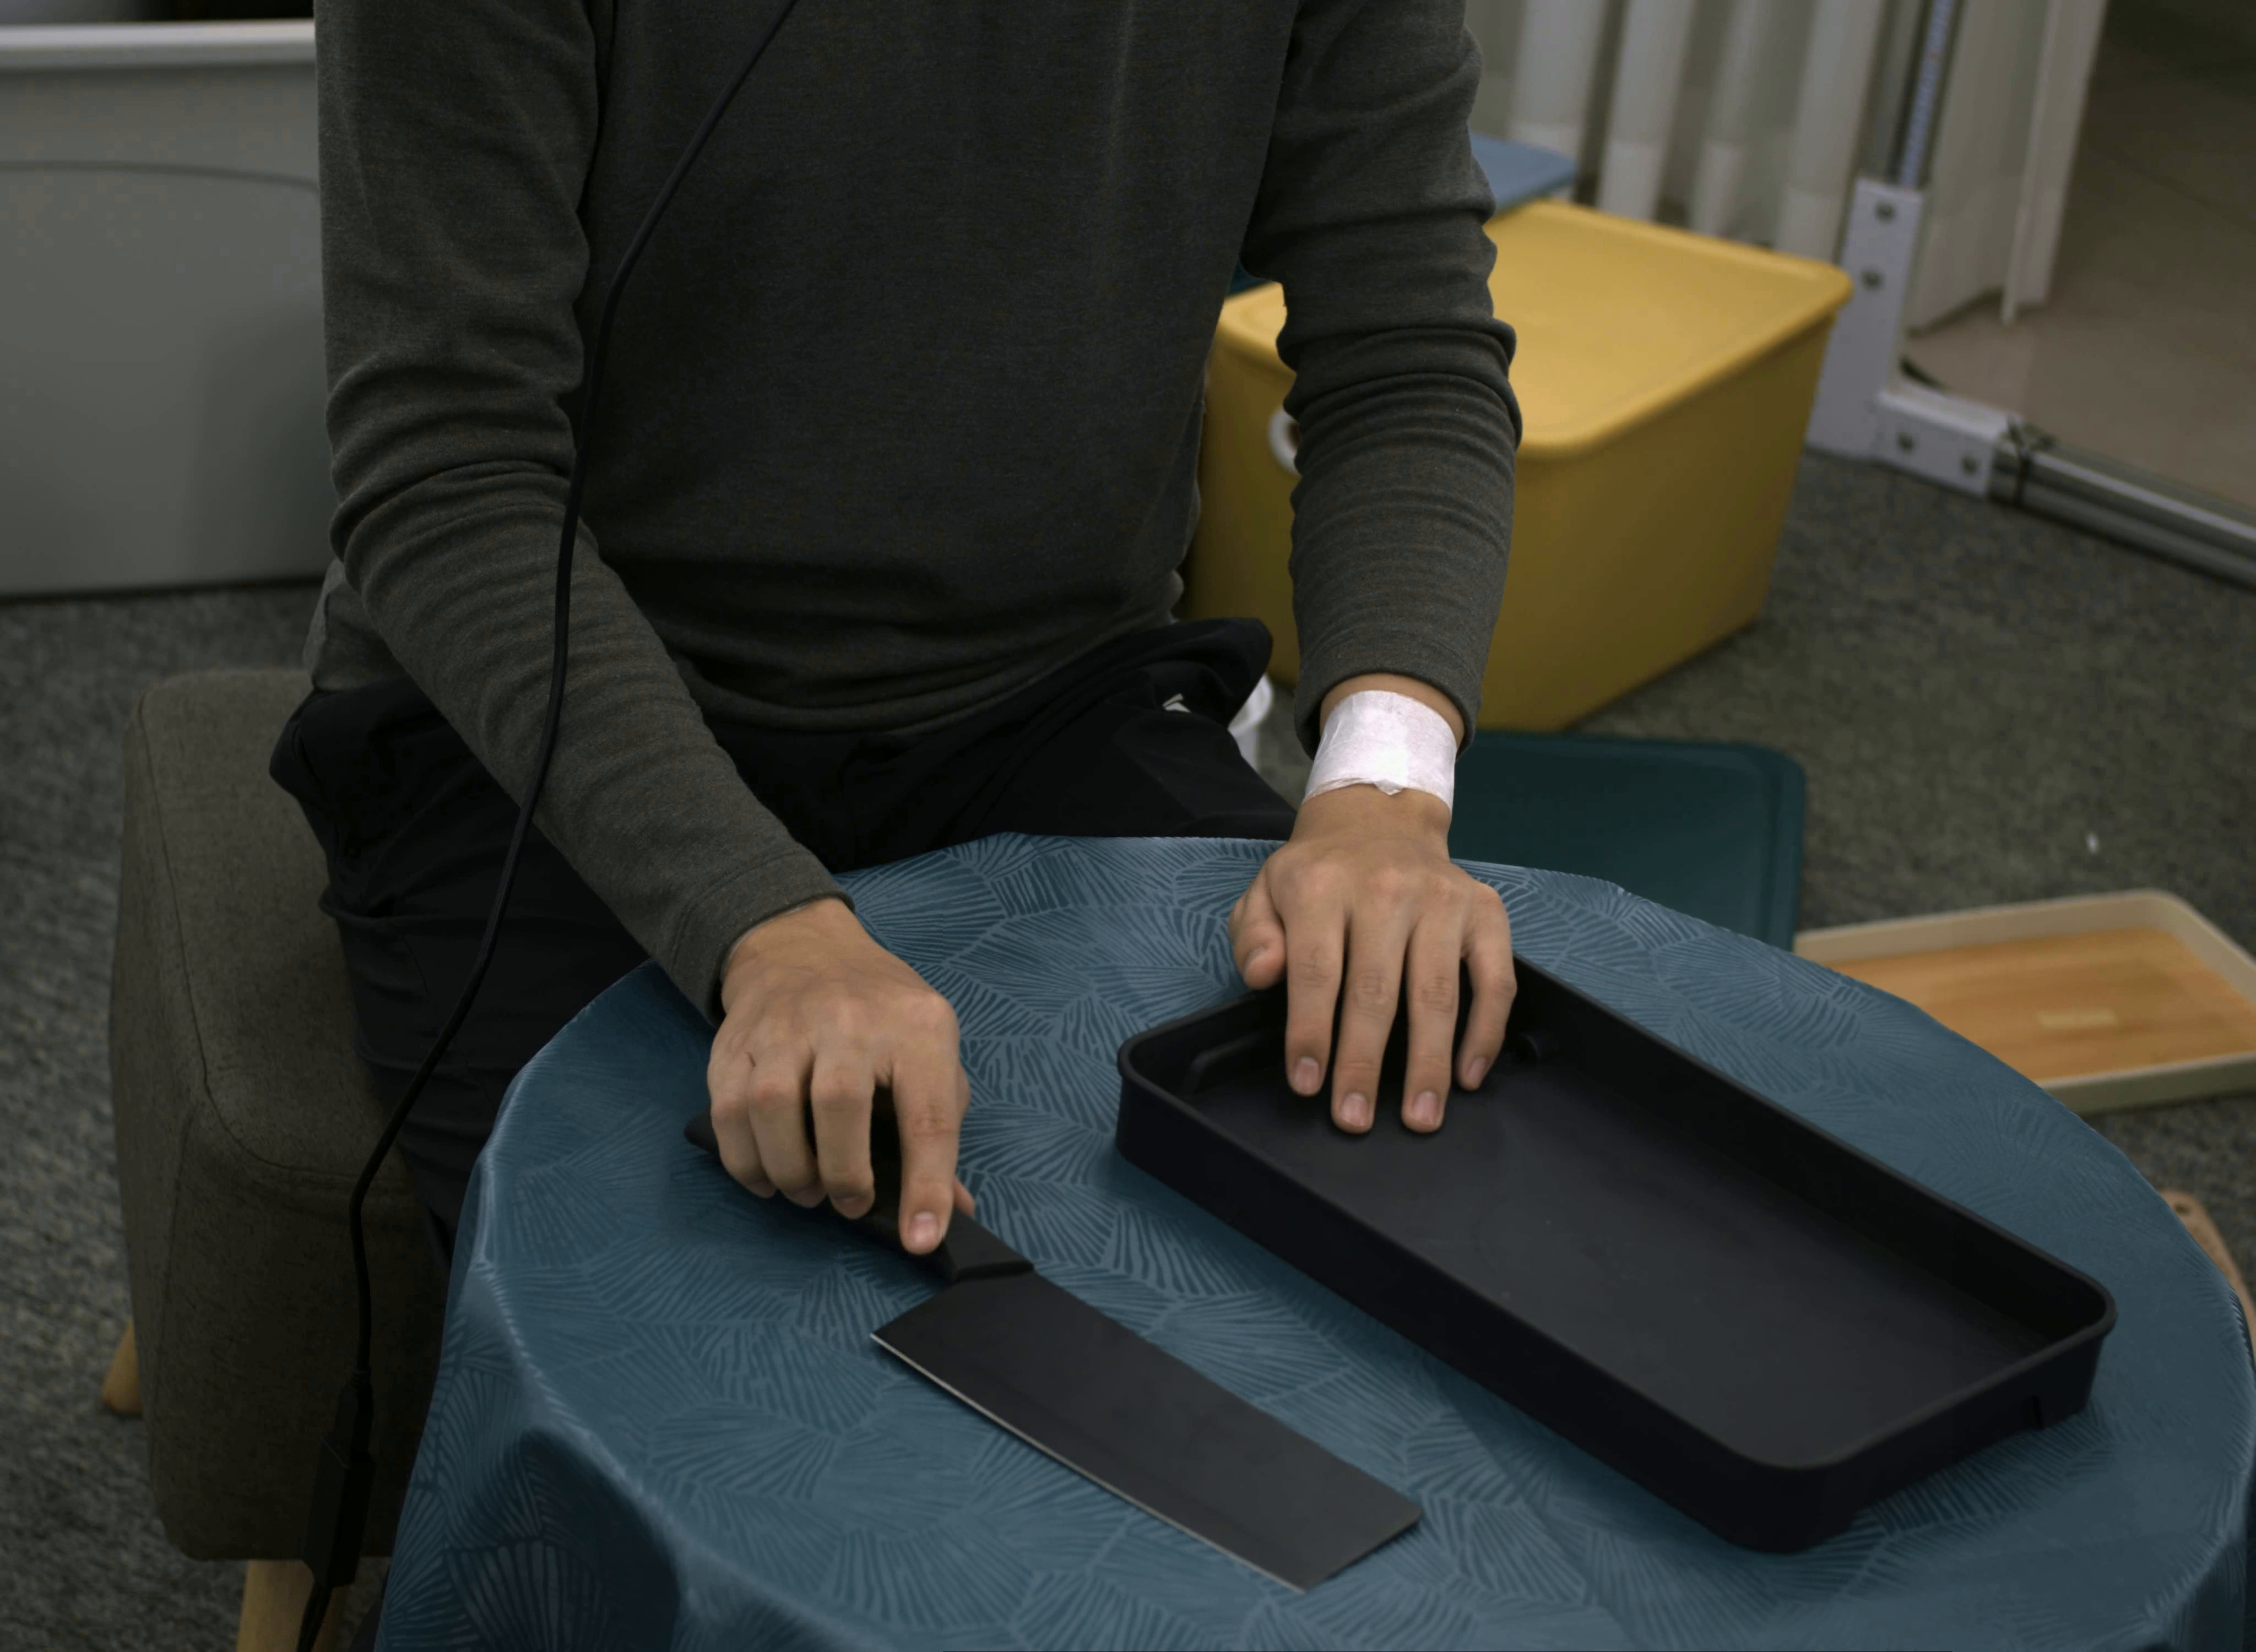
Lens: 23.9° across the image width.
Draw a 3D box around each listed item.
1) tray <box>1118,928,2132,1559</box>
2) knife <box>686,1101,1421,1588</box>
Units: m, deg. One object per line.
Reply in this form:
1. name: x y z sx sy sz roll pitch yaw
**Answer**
1. tray: 0.161 0.133 1.783 0.183 0.037 0.320 -19 37 -41
2. knife: -0.036 0.162 1.707 0.080 0.021 0.305 -22 39 -39
